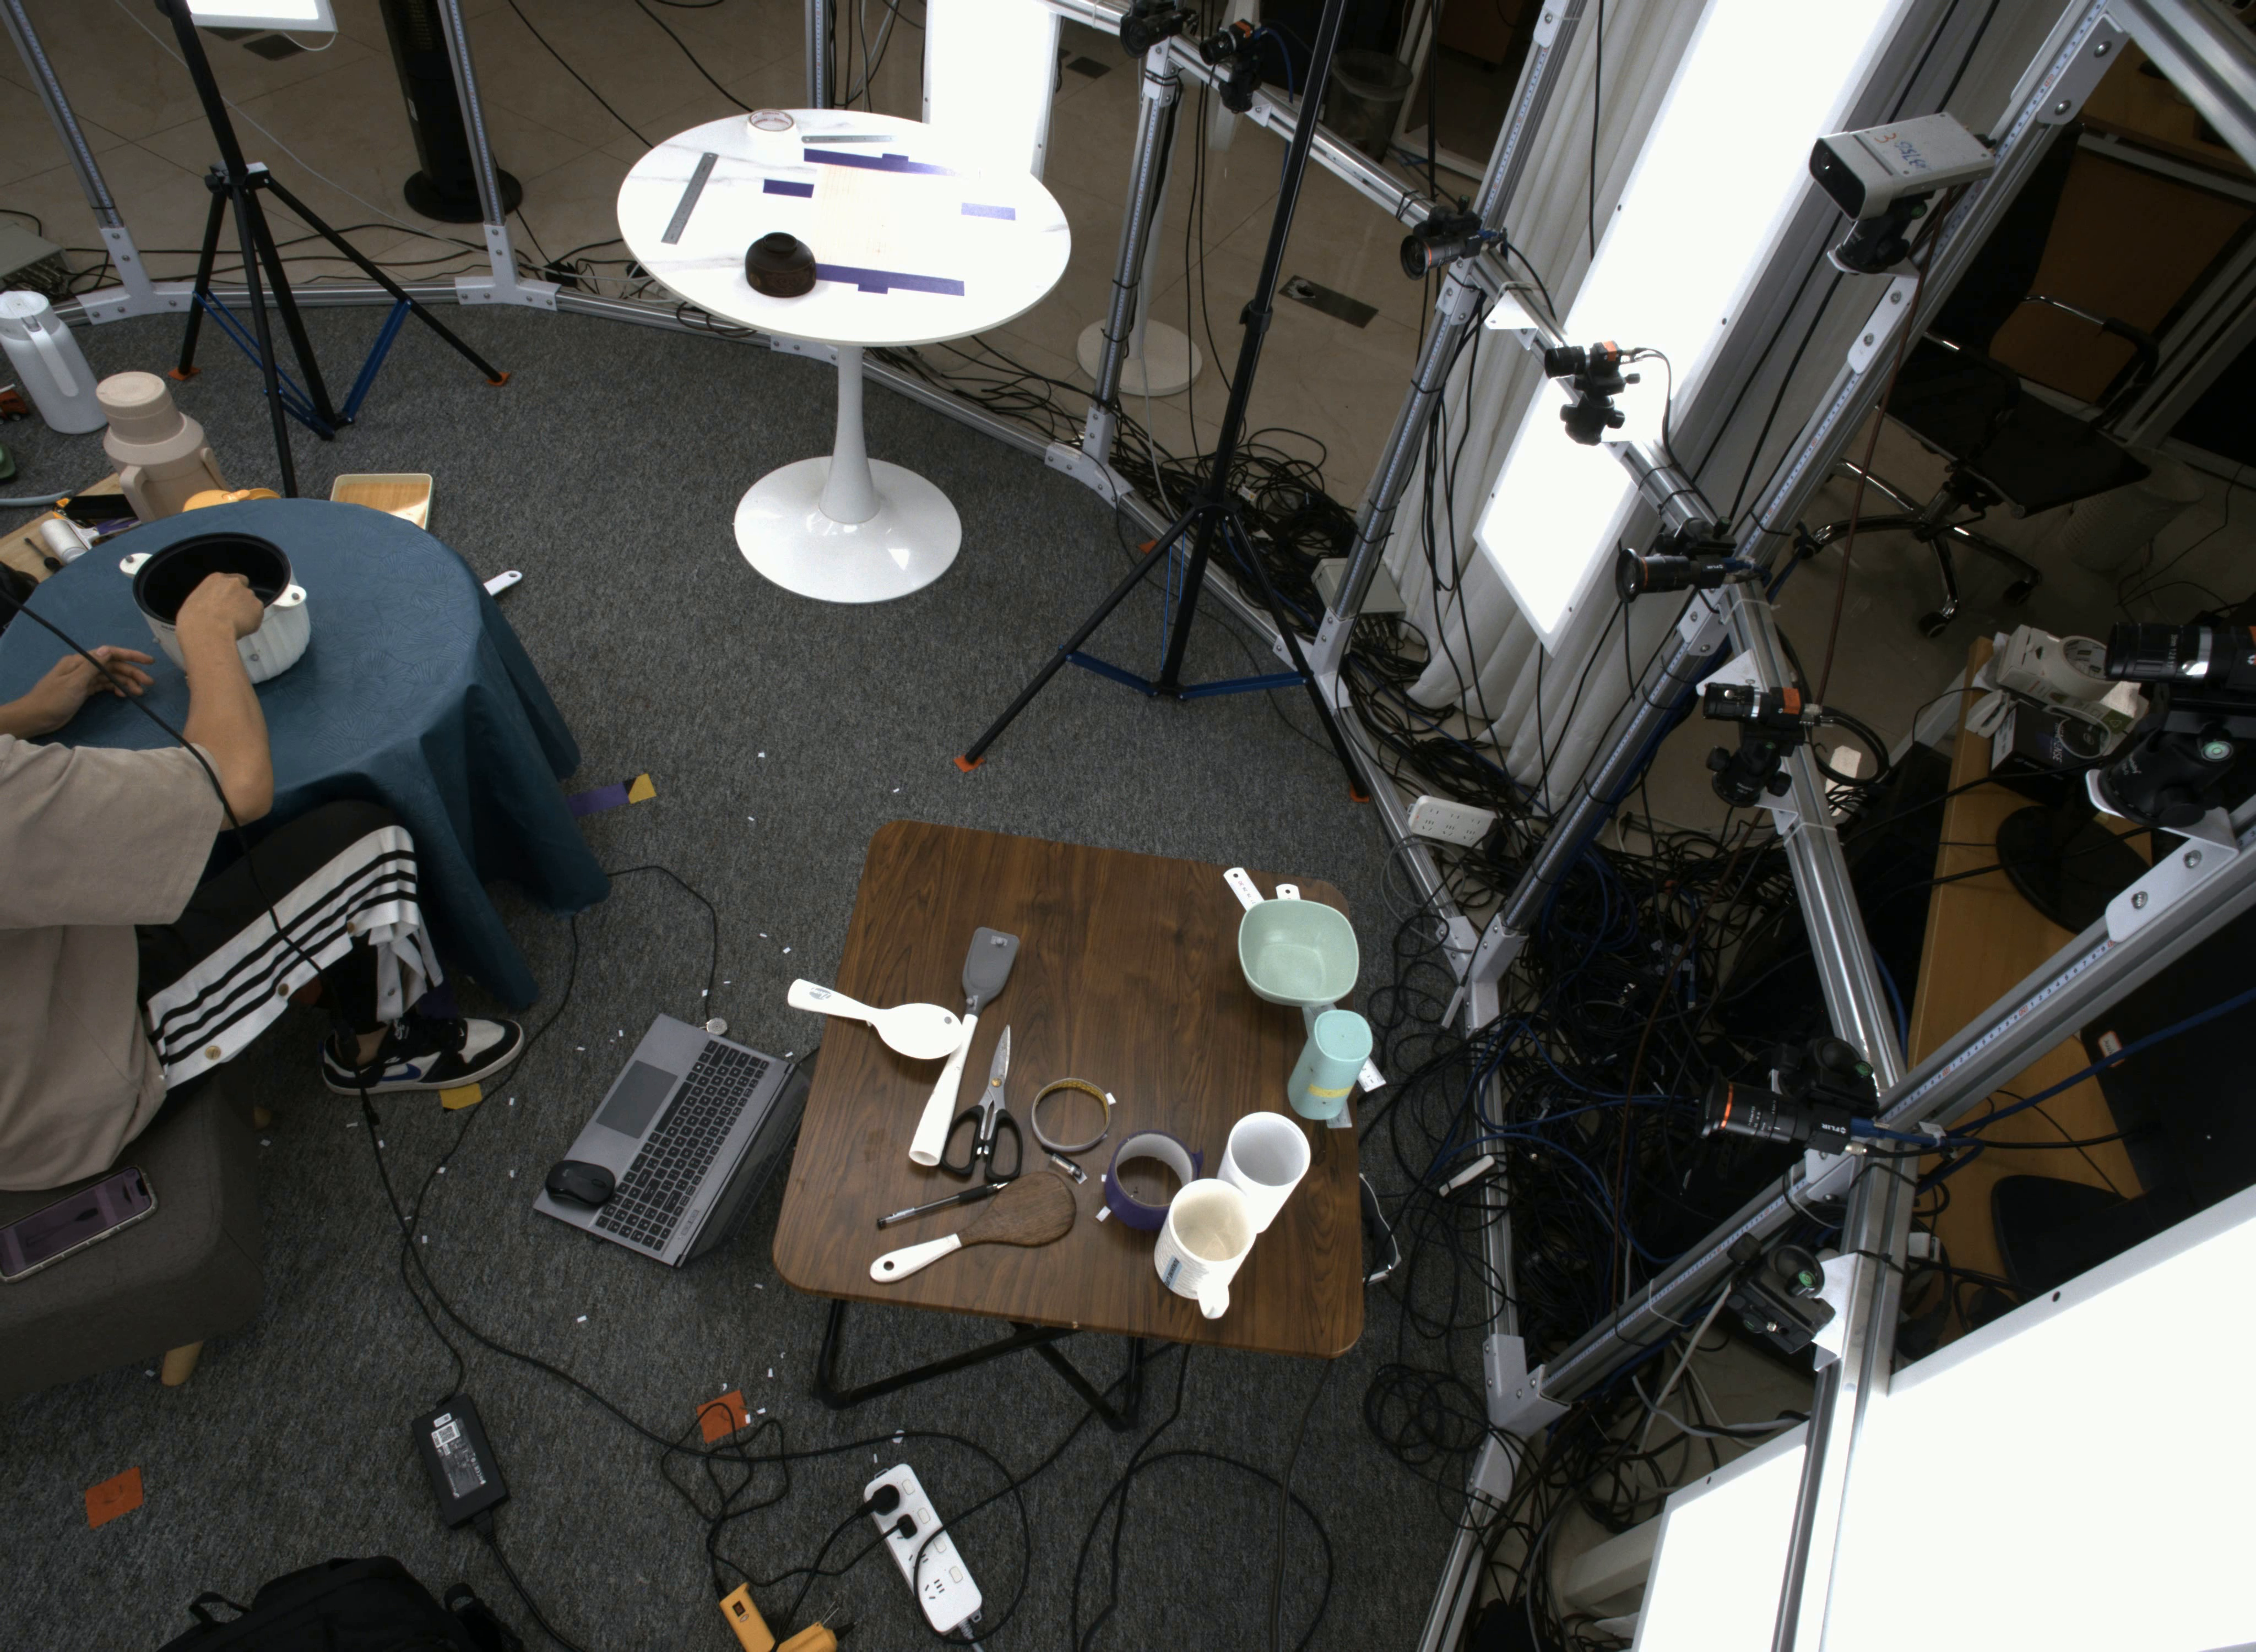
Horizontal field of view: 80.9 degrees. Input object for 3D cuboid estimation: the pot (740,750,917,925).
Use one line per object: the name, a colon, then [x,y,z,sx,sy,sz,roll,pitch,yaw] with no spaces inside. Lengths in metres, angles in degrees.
pot: [-0.380,0.020,1.640,0.237,0.146,0.189,22,48,6]

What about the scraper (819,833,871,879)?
scraper: [-0.327,0.032,1.506,0.039,0.015,0.165,3,13,-24]
